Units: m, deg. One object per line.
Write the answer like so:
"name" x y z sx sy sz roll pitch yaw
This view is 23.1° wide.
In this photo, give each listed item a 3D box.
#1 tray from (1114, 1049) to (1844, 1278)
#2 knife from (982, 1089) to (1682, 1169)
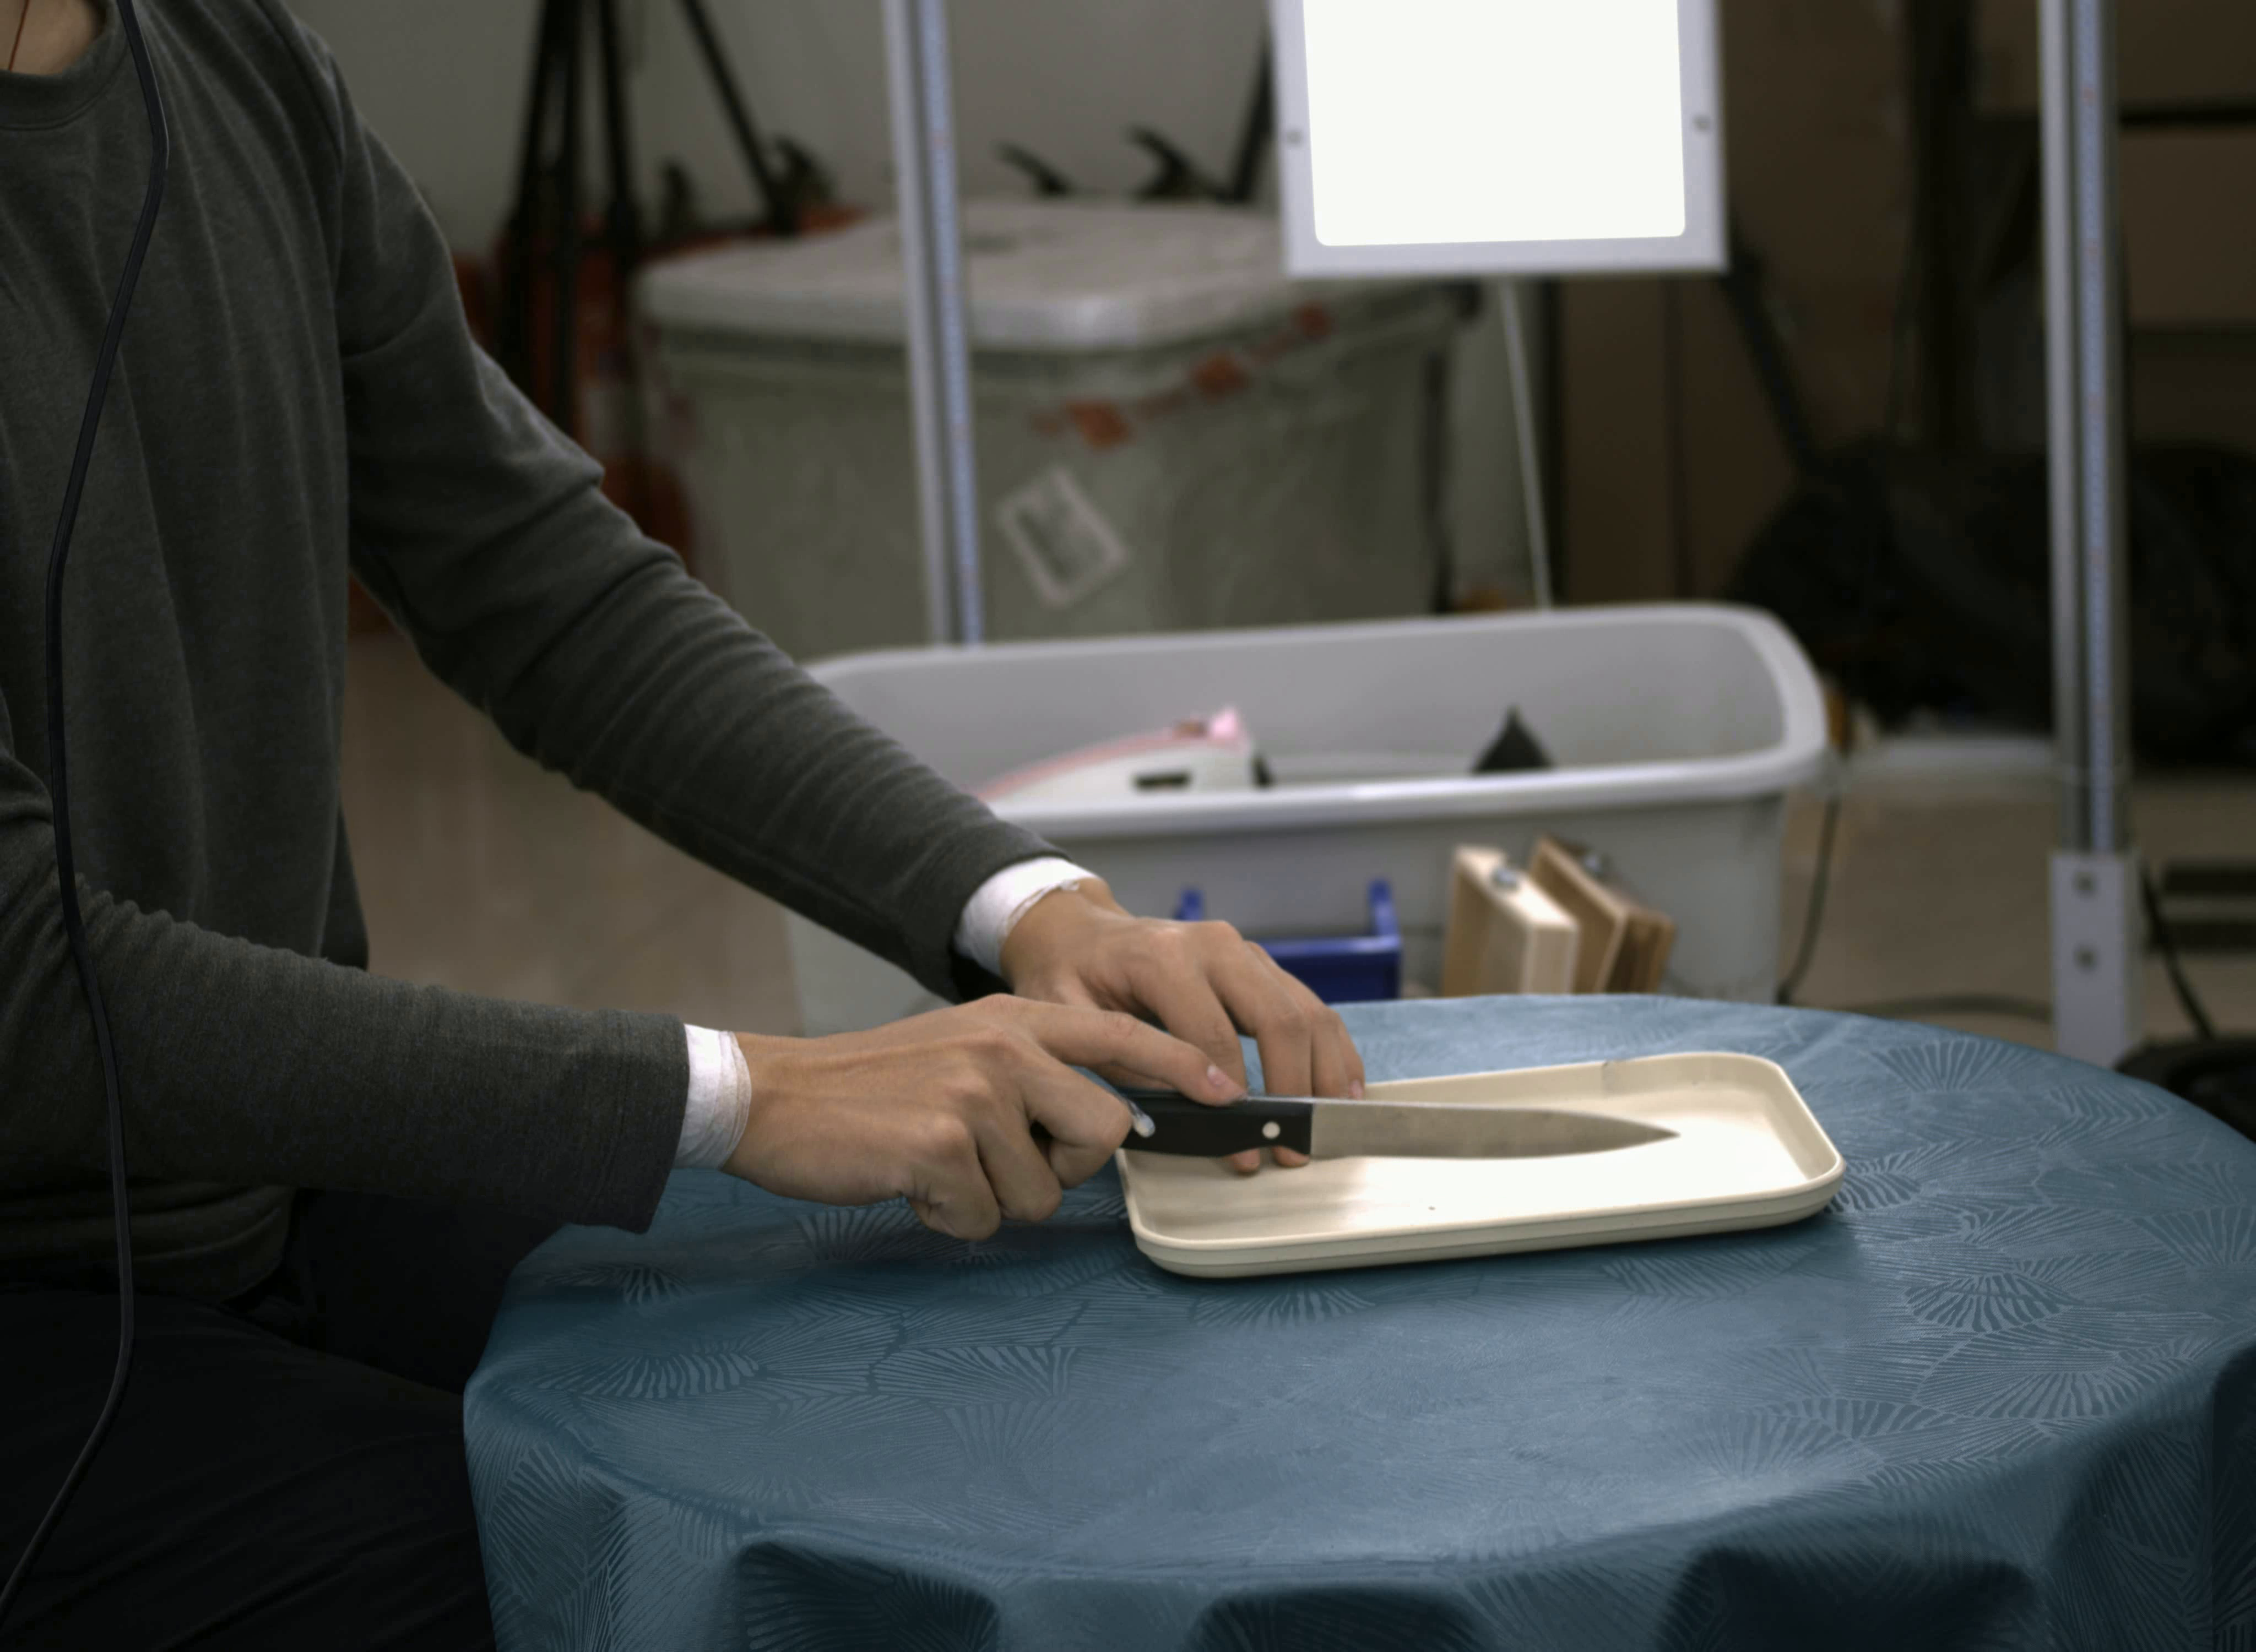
"tray" 0.117 0.115 1.870 0.239 0.017 0.171 -5 14 0
"knife" 0.070 0.102 1.855 0.237 0.024 0.016 3 30 1
